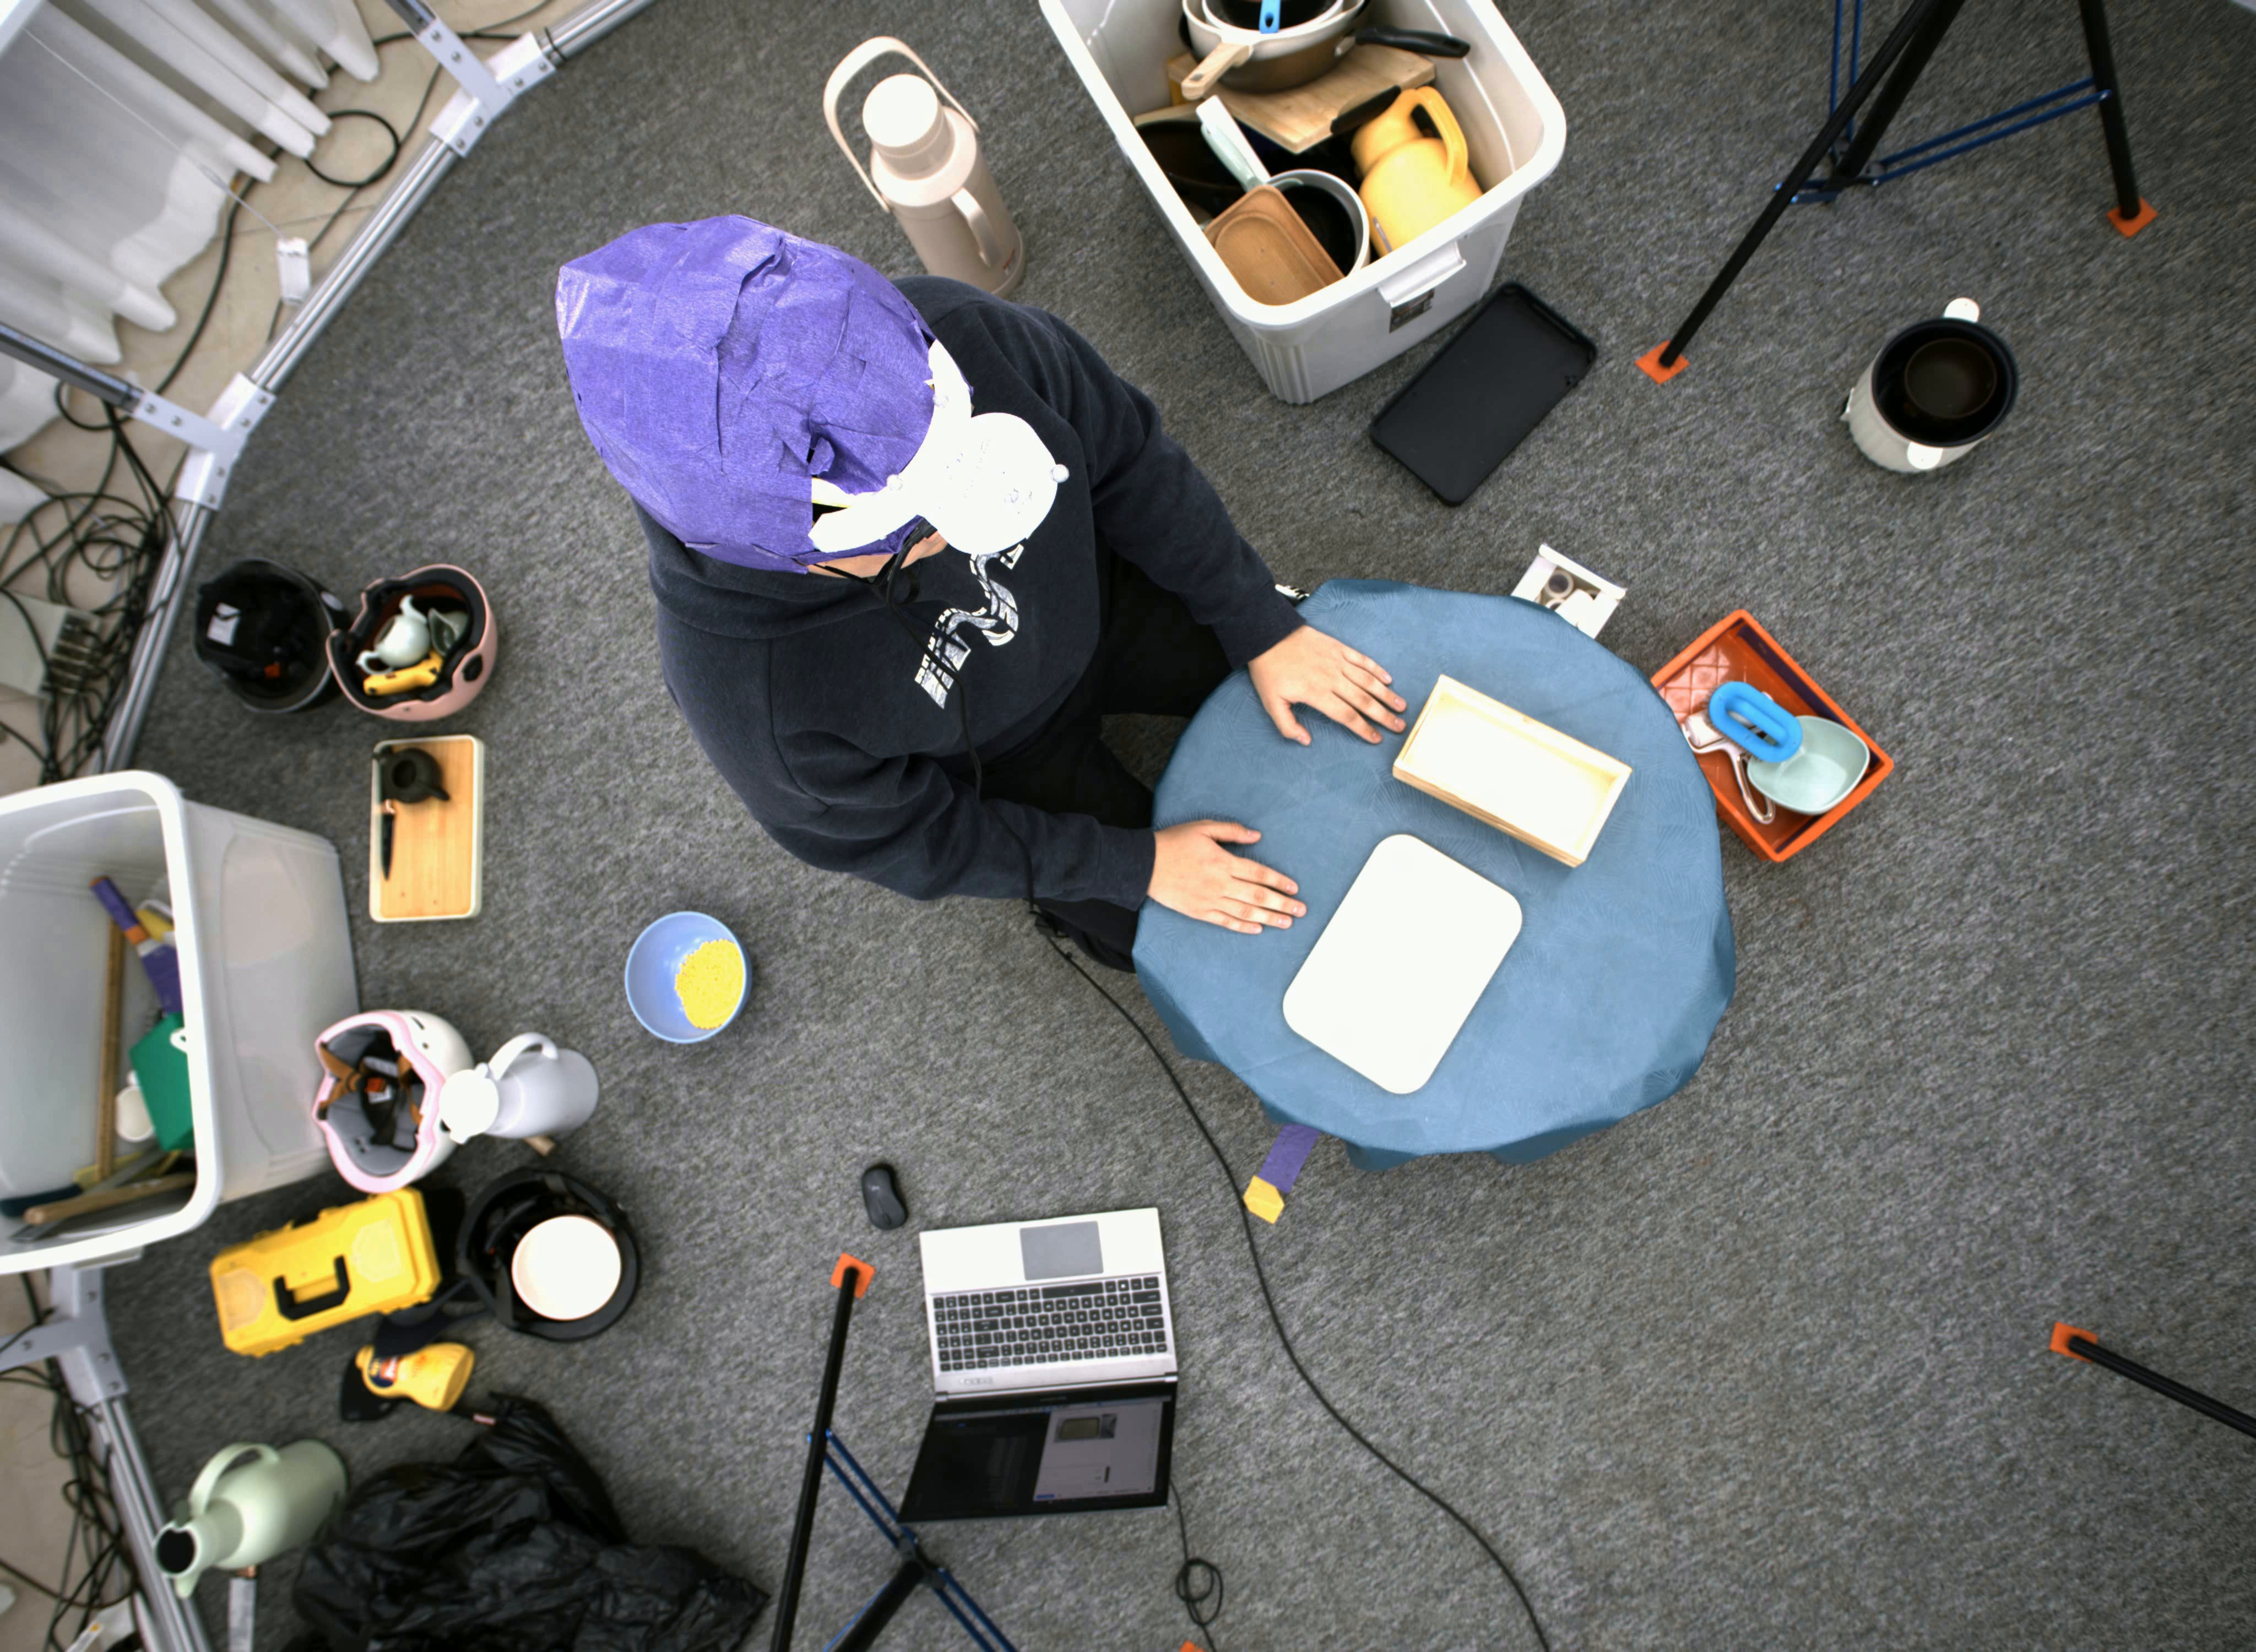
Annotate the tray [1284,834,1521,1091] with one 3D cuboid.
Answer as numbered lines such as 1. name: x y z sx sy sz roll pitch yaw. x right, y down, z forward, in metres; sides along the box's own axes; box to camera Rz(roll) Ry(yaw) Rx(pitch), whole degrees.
1. tray: 0.286 0.141 1.445 0.171 0.017 0.240 32 93 12

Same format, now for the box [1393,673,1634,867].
1. box: 0.390 -0.058 1.405 0.211 0.080 0.107 28 90 12
